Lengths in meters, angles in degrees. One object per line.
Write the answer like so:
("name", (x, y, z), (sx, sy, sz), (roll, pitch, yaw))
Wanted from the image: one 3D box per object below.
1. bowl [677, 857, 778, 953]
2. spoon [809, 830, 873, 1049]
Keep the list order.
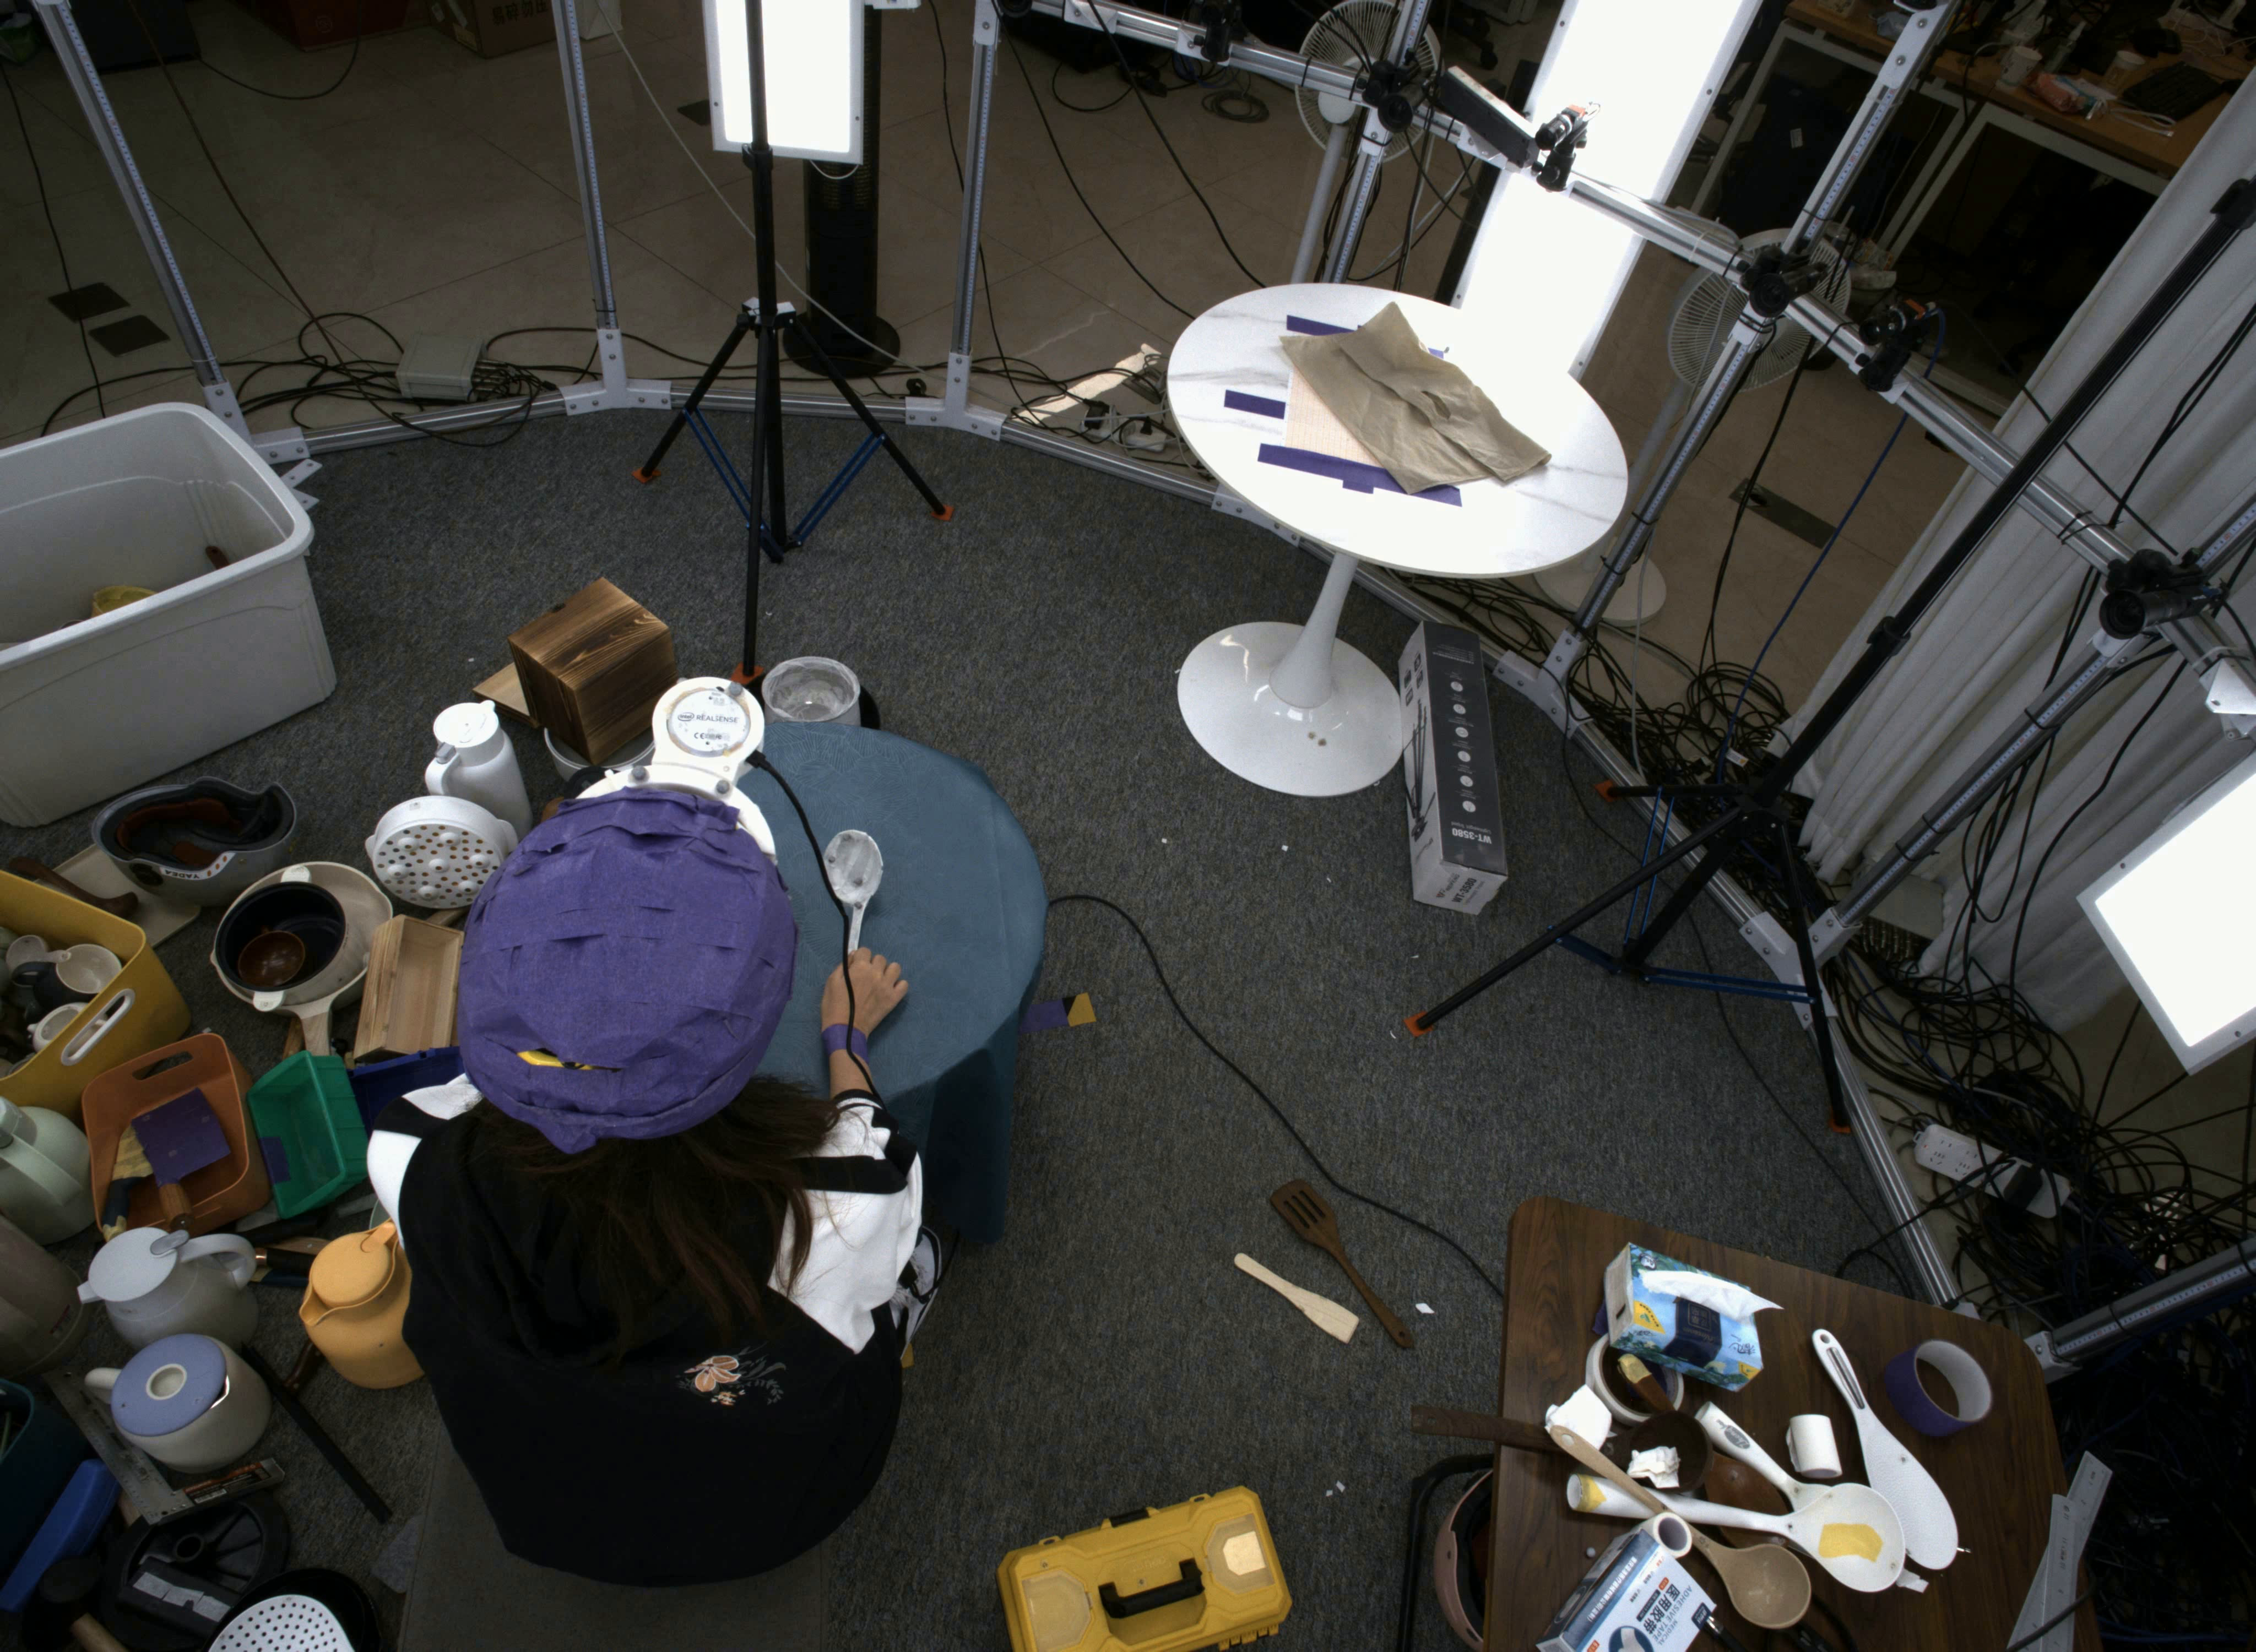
("bowl", (-0.487, 0.102, 1.578), (0.118, 0.071, 0.116), (7, 52, -8))
("spoon", (-0.369, 0.135, 1.598), (0.098, 0.061, 0.273), (-17, 52, 29))
